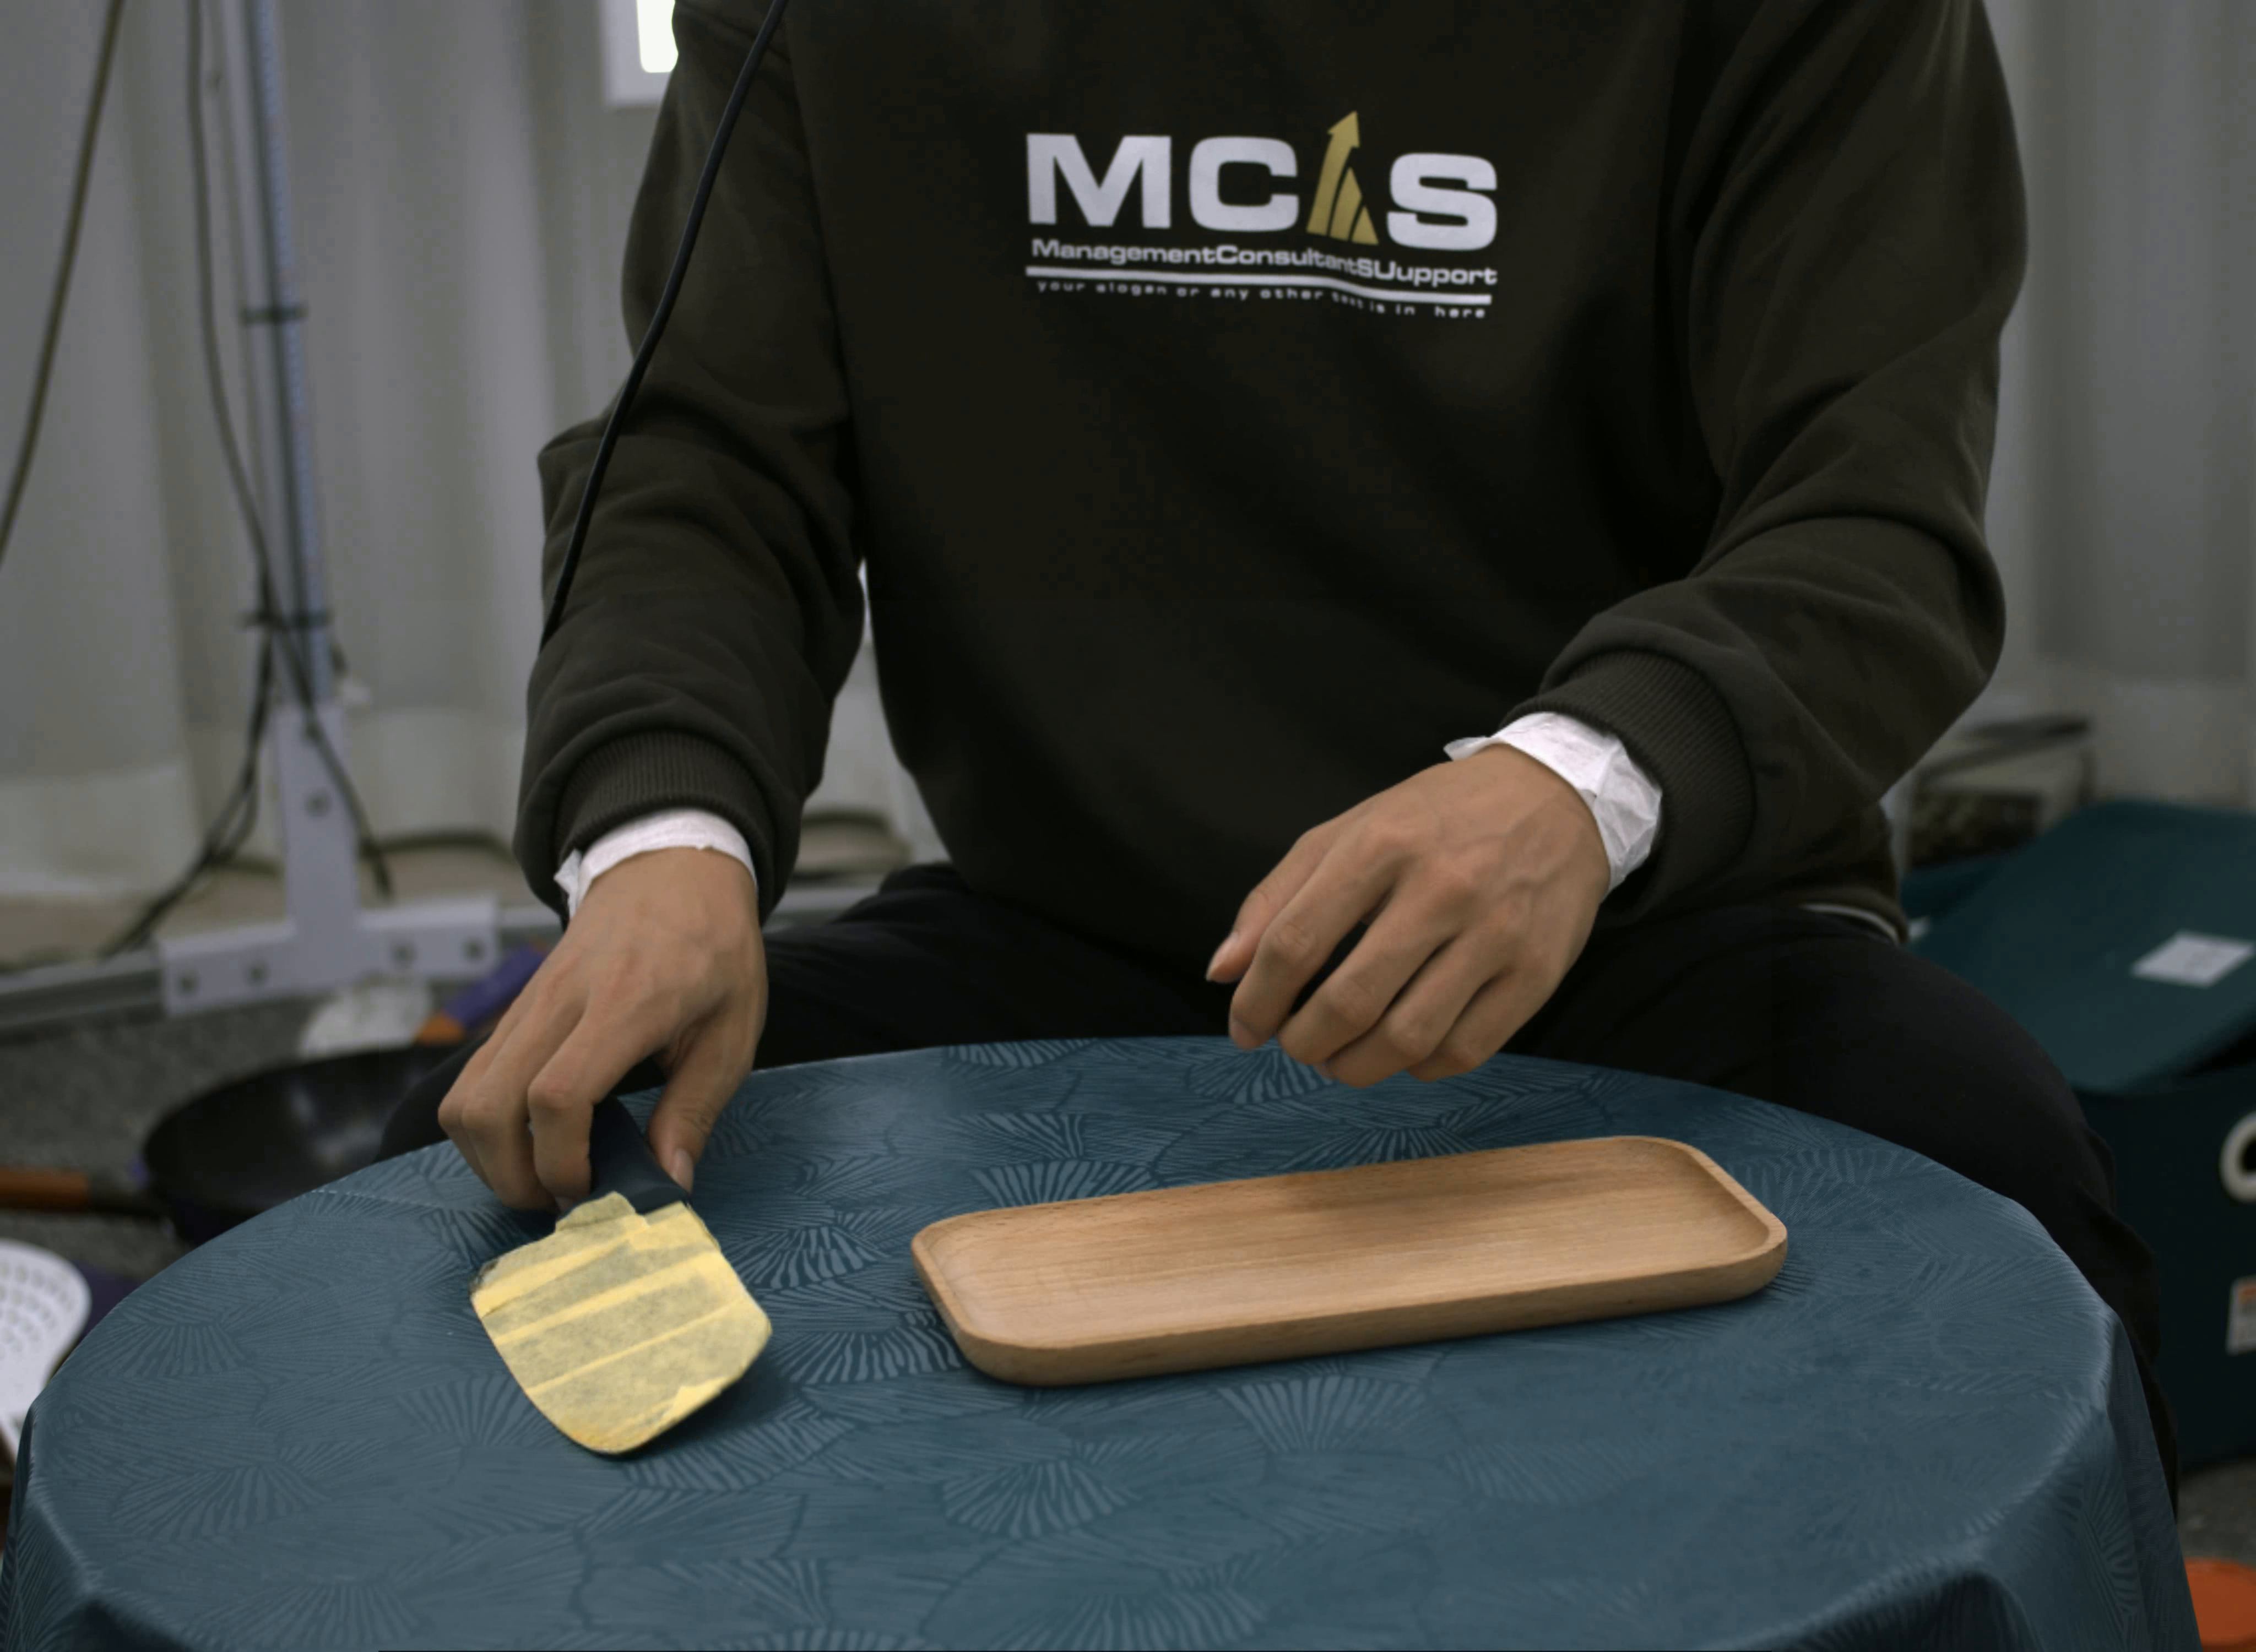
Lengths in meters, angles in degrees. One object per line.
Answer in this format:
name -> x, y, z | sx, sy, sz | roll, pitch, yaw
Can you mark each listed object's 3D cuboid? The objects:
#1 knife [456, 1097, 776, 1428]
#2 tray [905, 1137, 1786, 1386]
knife -> -0.162, 0.132, 1.651 | 0.081, 0.027, 0.292 | -16, 16, -10
tray -> 0.064, 0.128, 1.620 | 0.249, 0.023, 0.131 | -6, 12, -12
